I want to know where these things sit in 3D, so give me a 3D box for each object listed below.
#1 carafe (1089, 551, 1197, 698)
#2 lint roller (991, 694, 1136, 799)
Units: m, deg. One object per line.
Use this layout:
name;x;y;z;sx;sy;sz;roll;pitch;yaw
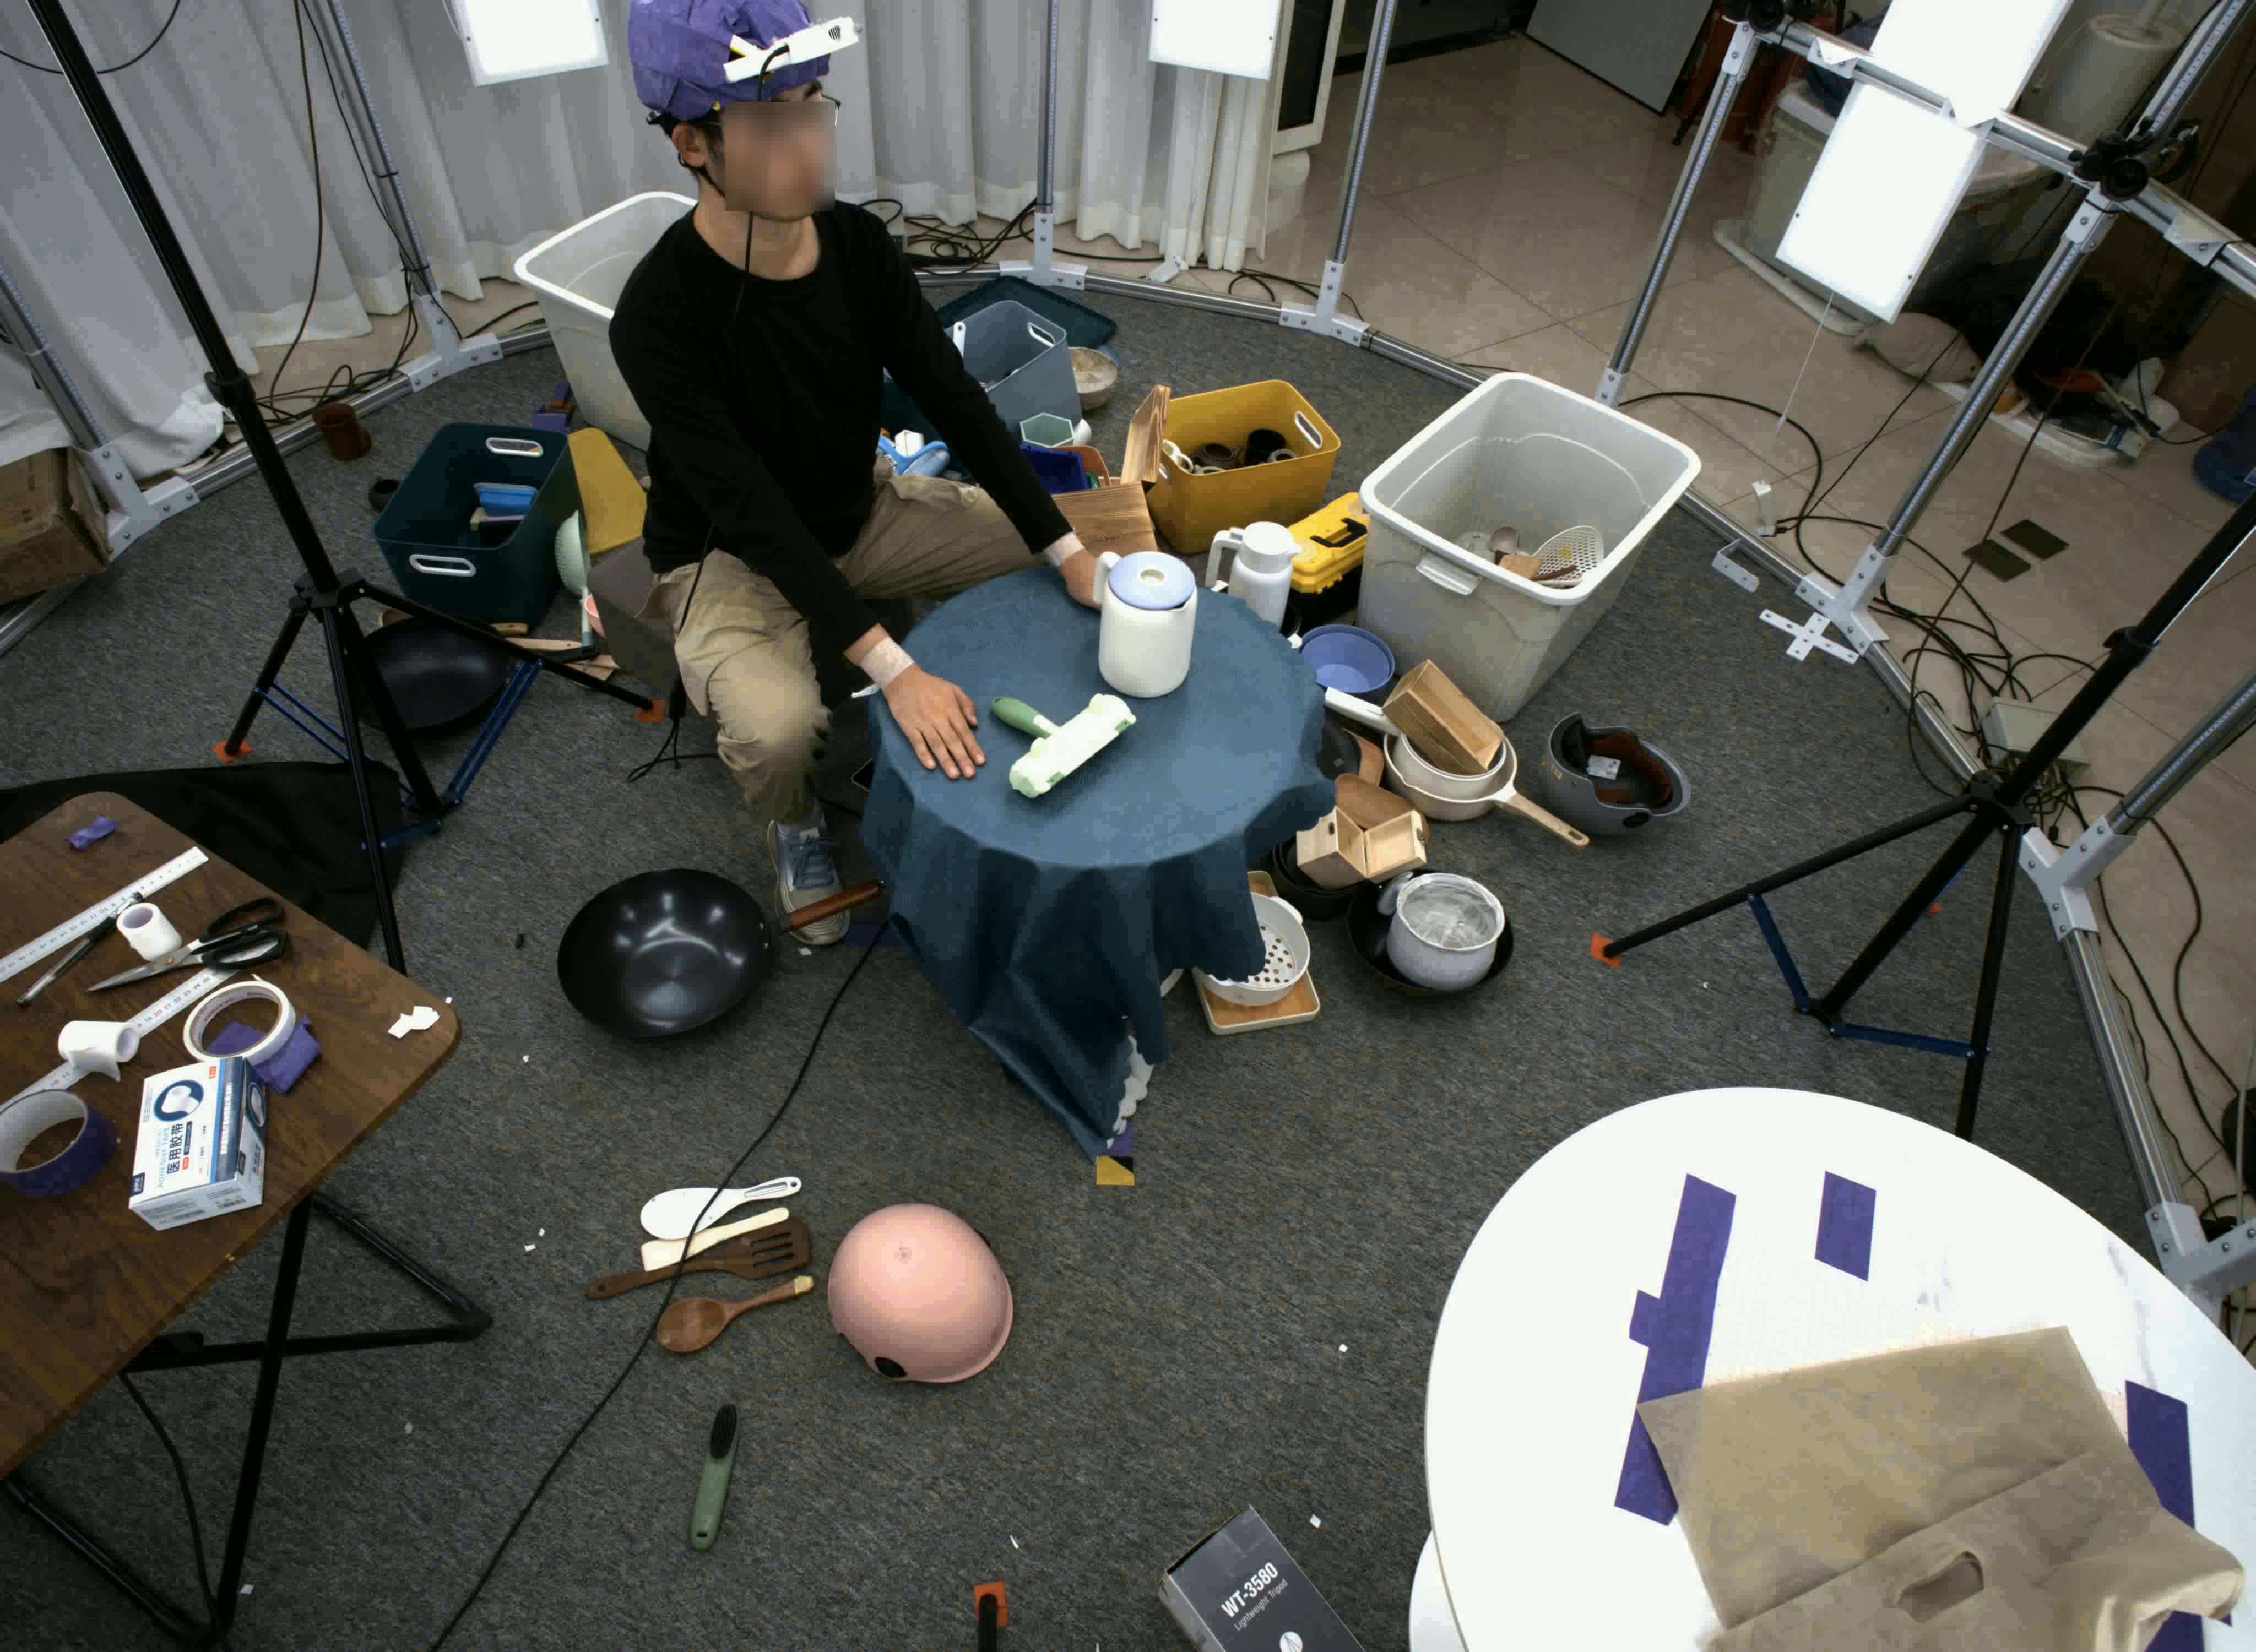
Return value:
carafe;0.011;-0.298;1.818;0.133;0.178;0.194;-30;55;-27
lint roller;-0.116;-0.143;1.737;0.185;0.080;0.201;36;55;22
